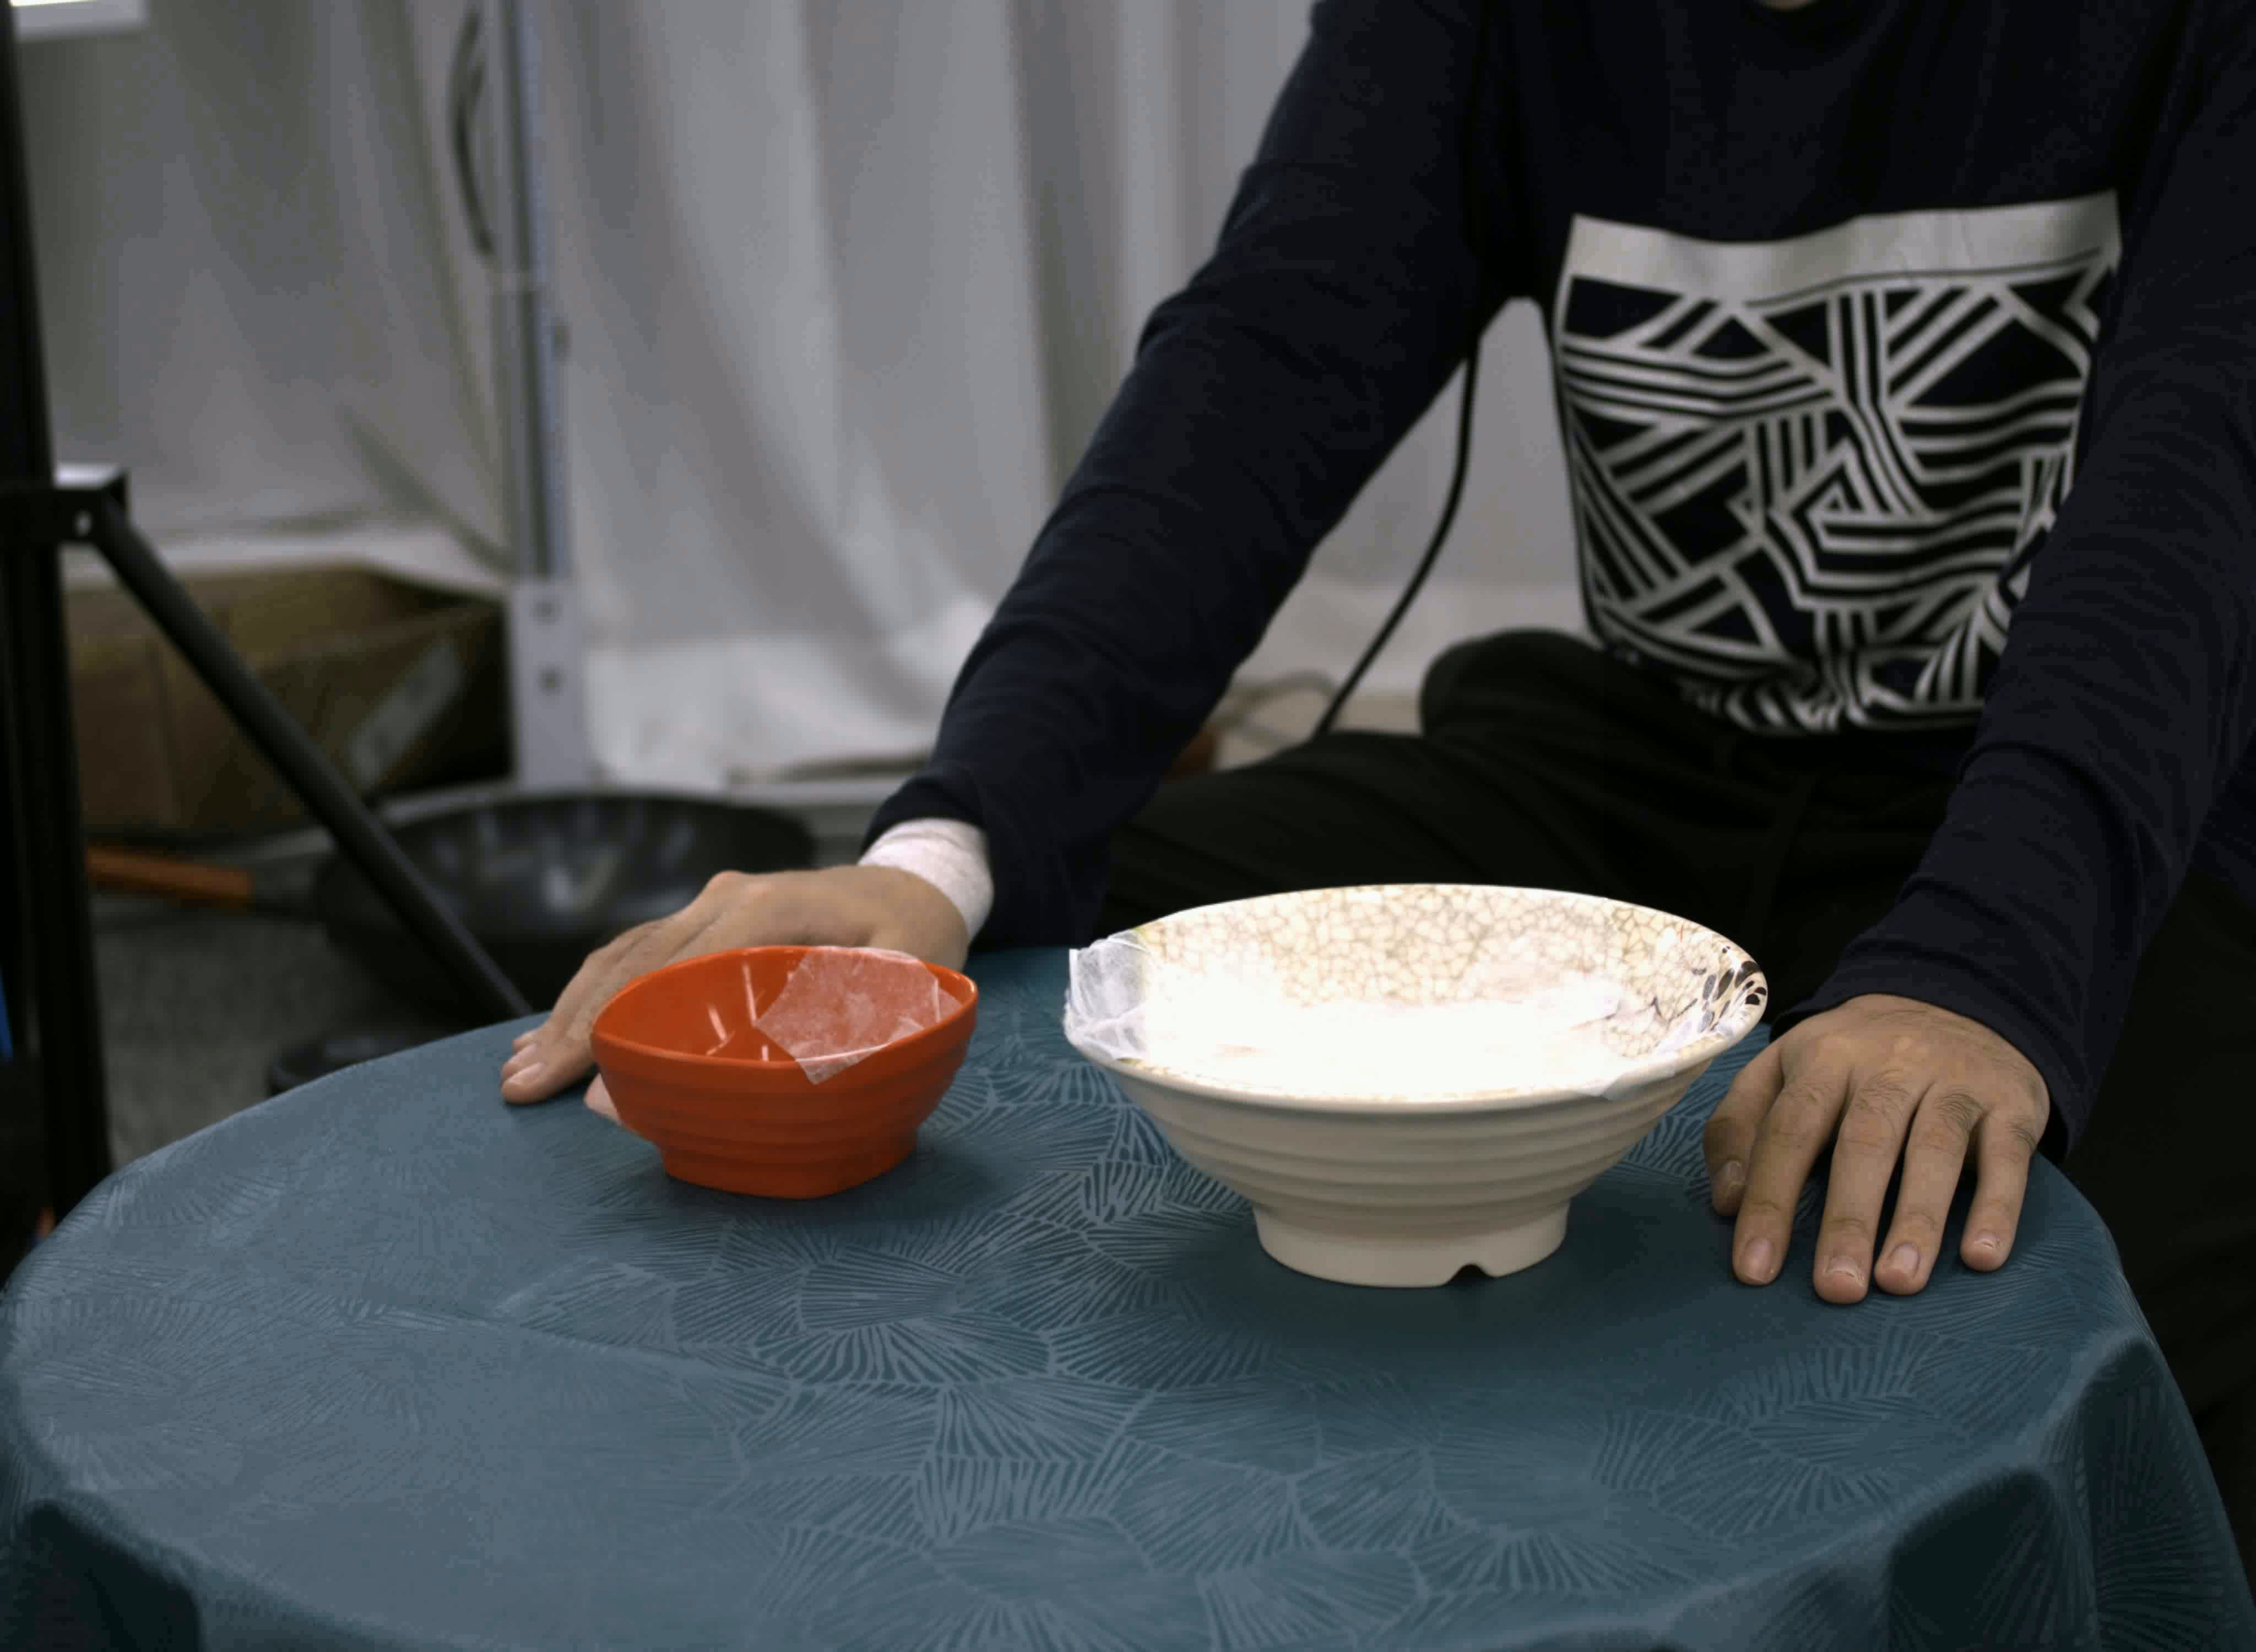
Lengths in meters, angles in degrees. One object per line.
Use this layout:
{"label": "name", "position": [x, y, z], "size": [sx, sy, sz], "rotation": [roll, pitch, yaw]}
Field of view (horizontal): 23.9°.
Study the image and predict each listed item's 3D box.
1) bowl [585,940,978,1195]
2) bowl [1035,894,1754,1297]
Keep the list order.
{"label": "bowl", "position": [-0.102, 0.075, 1.599], "size": [0.118, 0.051, 0.119], "rotation": [-4, 16, 0]}
{"label": "bowl", "position": [0.074, 0.083, 1.506], "size": [0.203, 0.078, 0.205], "rotation": [2, 14, -2]}
